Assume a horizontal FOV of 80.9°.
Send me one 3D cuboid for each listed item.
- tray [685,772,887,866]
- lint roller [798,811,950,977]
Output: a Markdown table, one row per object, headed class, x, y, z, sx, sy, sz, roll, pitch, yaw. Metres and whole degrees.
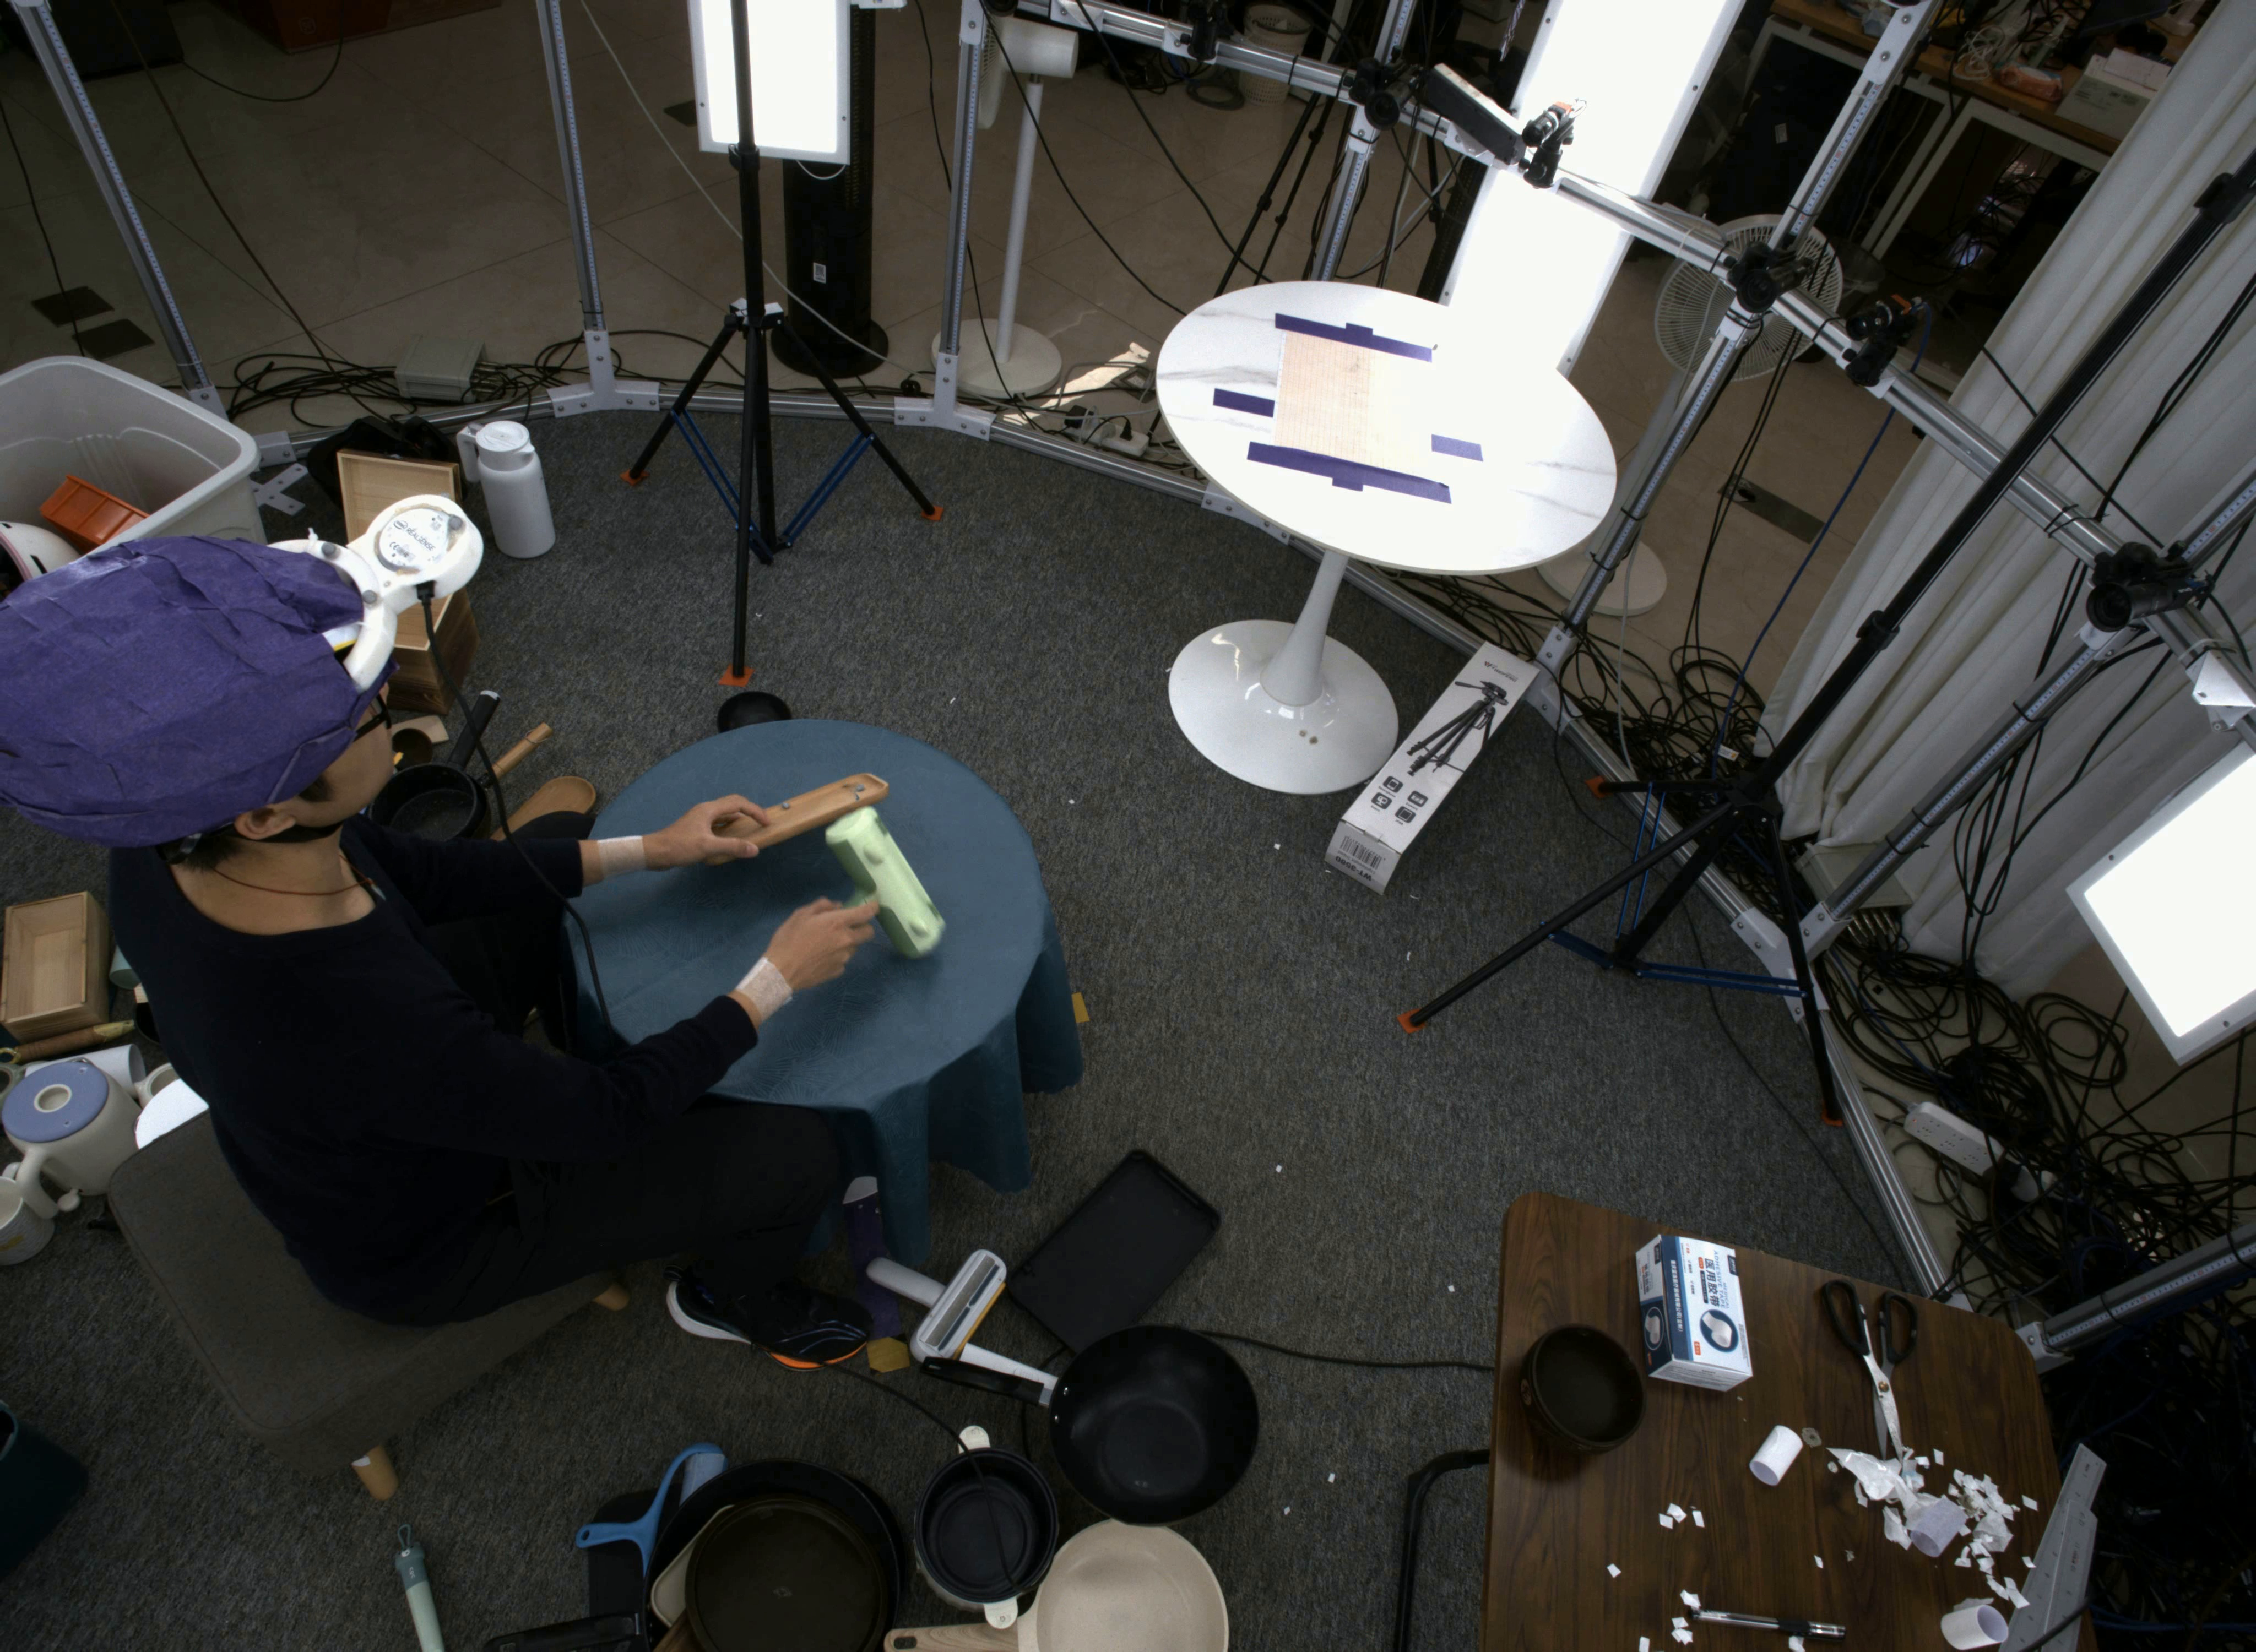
| class | x | y | z | sx | sy | sz | roll | pitch | yaw |
| --- | --- | --- | --- | --- | --- | --- | --- | --- | --- |
| tray | -0.429 | -0.012 | 1.632 | 0.251 | 0.023 | 0.126 | -24 | 21 | -24 |
| lint roller | -0.311 | 0.110 | 1.533 | 0.182 | 0.080 | 0.205 | -53 | 123 | -39 |
